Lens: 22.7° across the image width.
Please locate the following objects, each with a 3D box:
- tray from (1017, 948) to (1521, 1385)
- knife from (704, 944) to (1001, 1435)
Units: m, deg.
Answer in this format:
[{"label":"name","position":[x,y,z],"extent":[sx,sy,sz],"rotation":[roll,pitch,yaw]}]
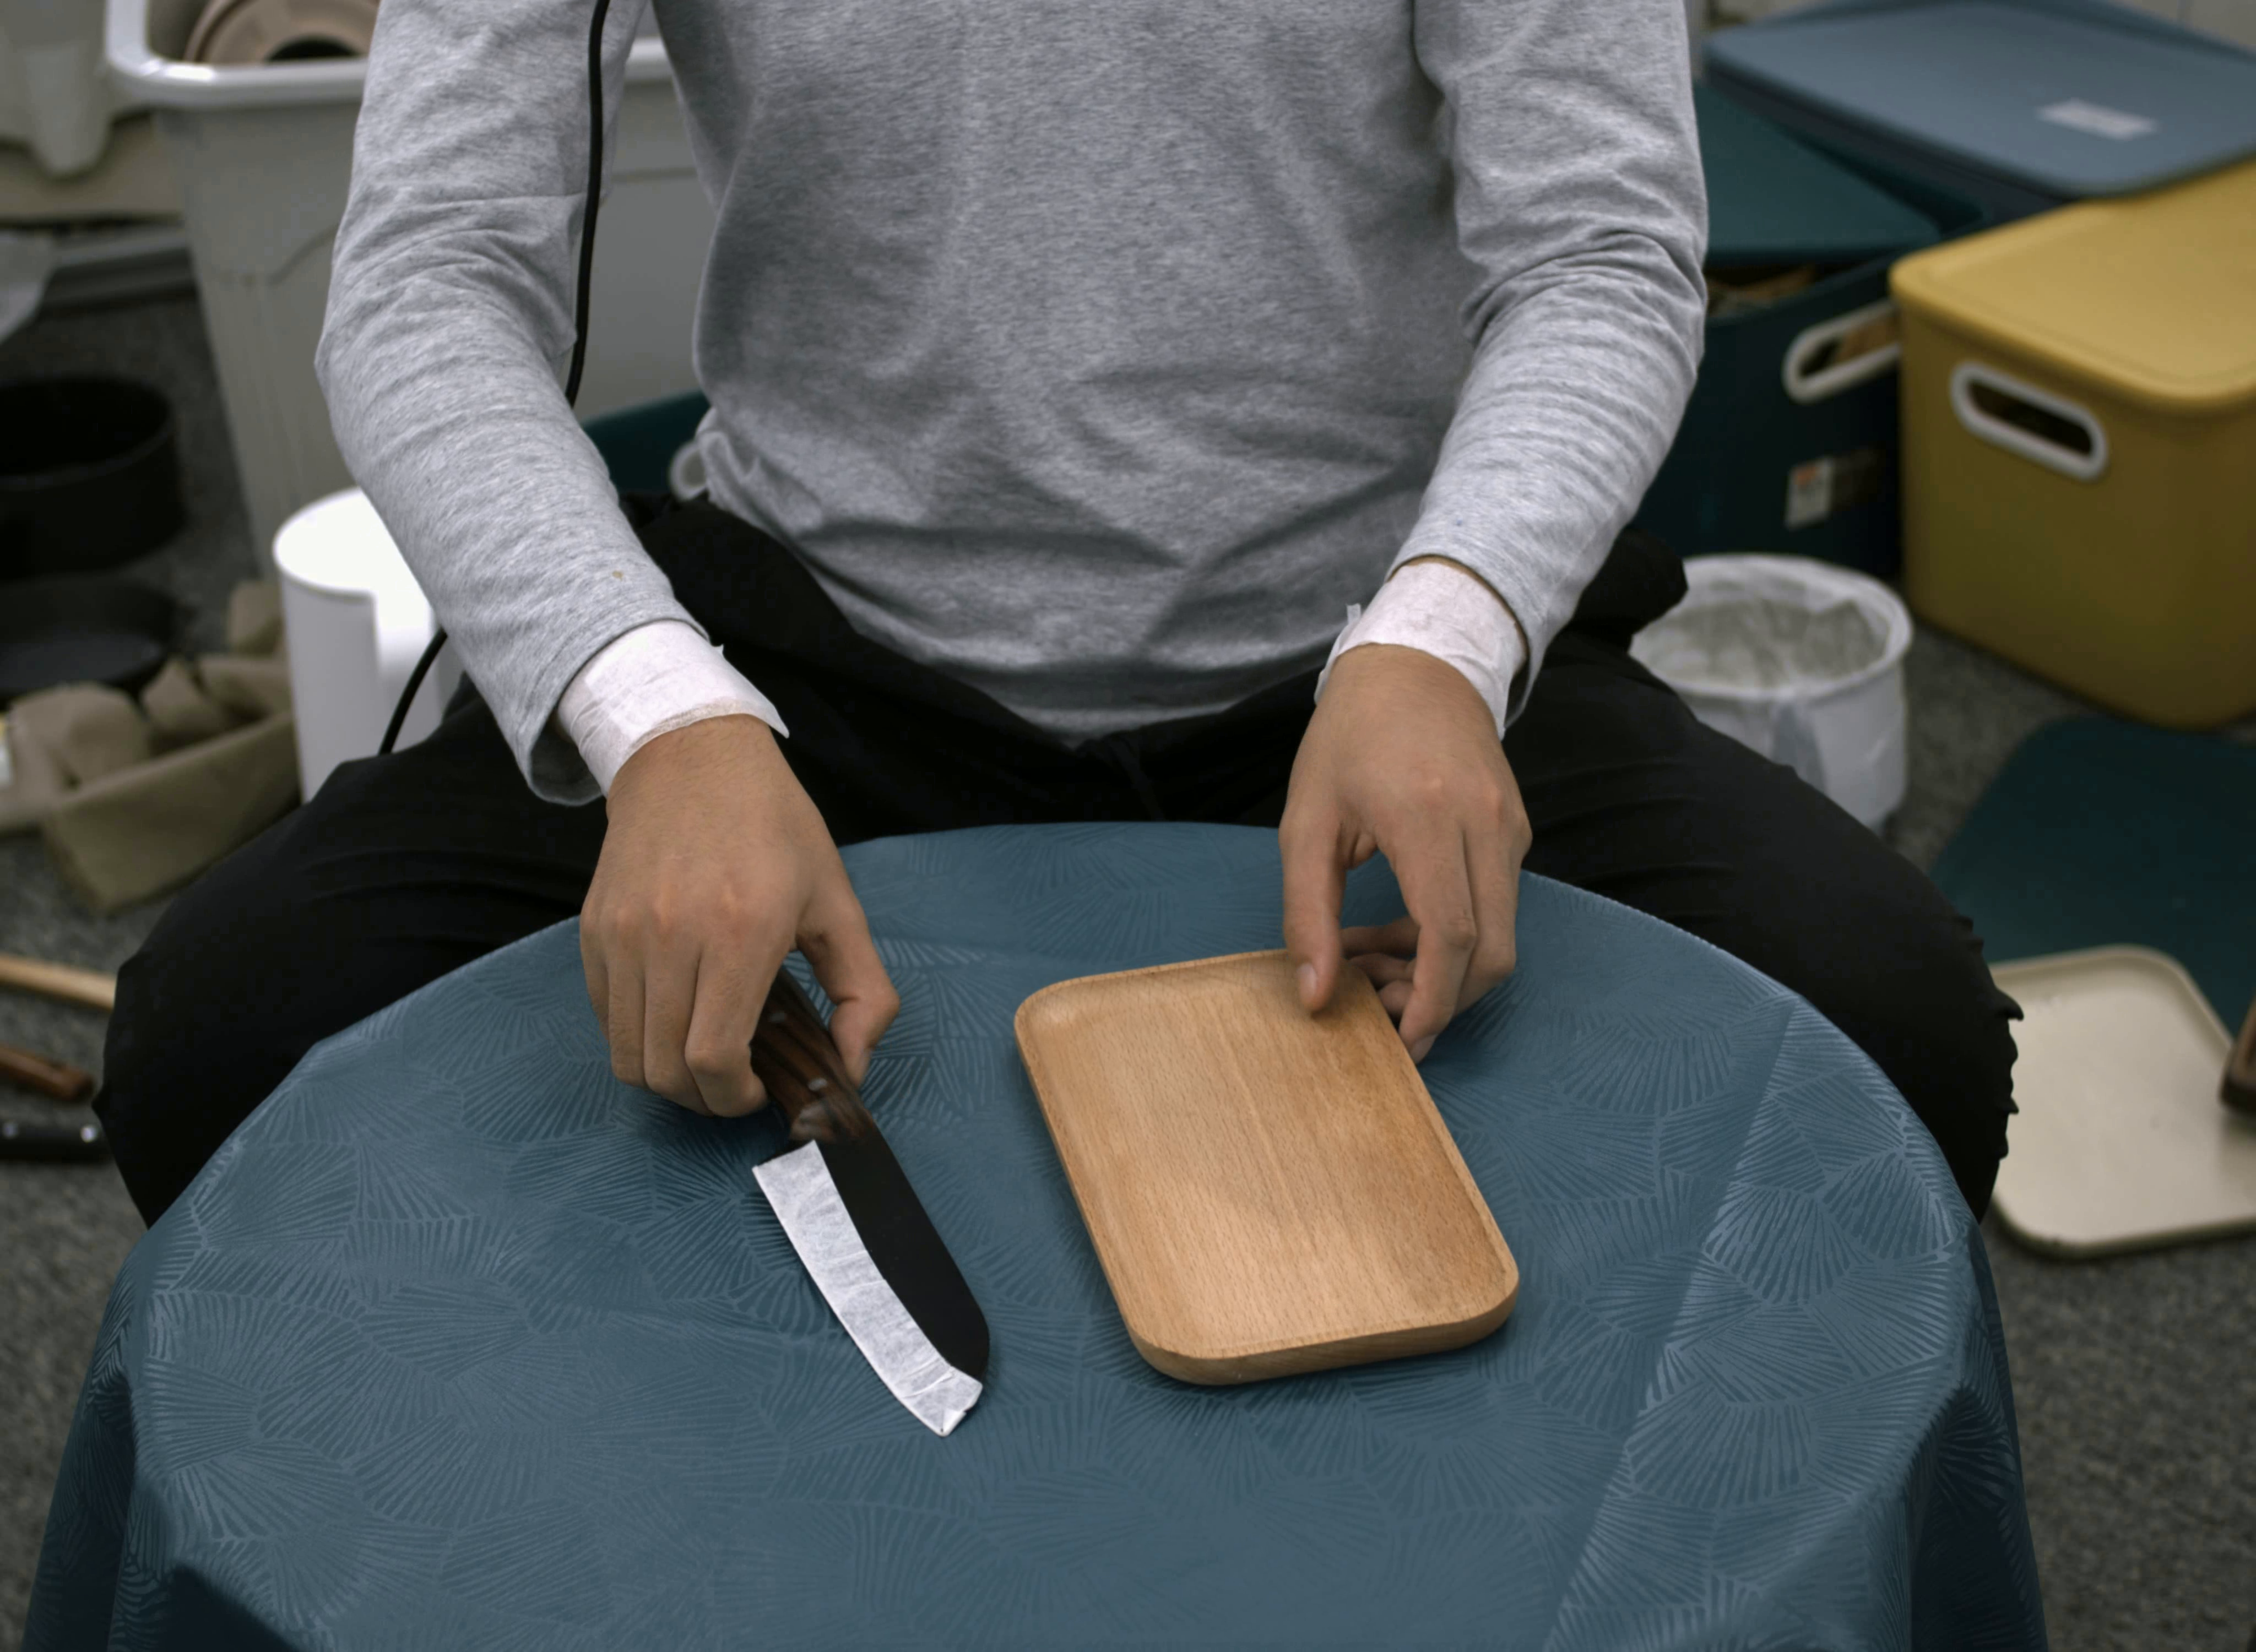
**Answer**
[{"label":"tray","position":[0.043,0.110,1.863],"extent":[0.130,0.022,0.253],"rotation":[-5,27,-9]},{"label":"knife","position":[-0.095,0.118,1.856],"extent":[0.050,0.020,0.292],"rotation":[-21,33,-7]}]
